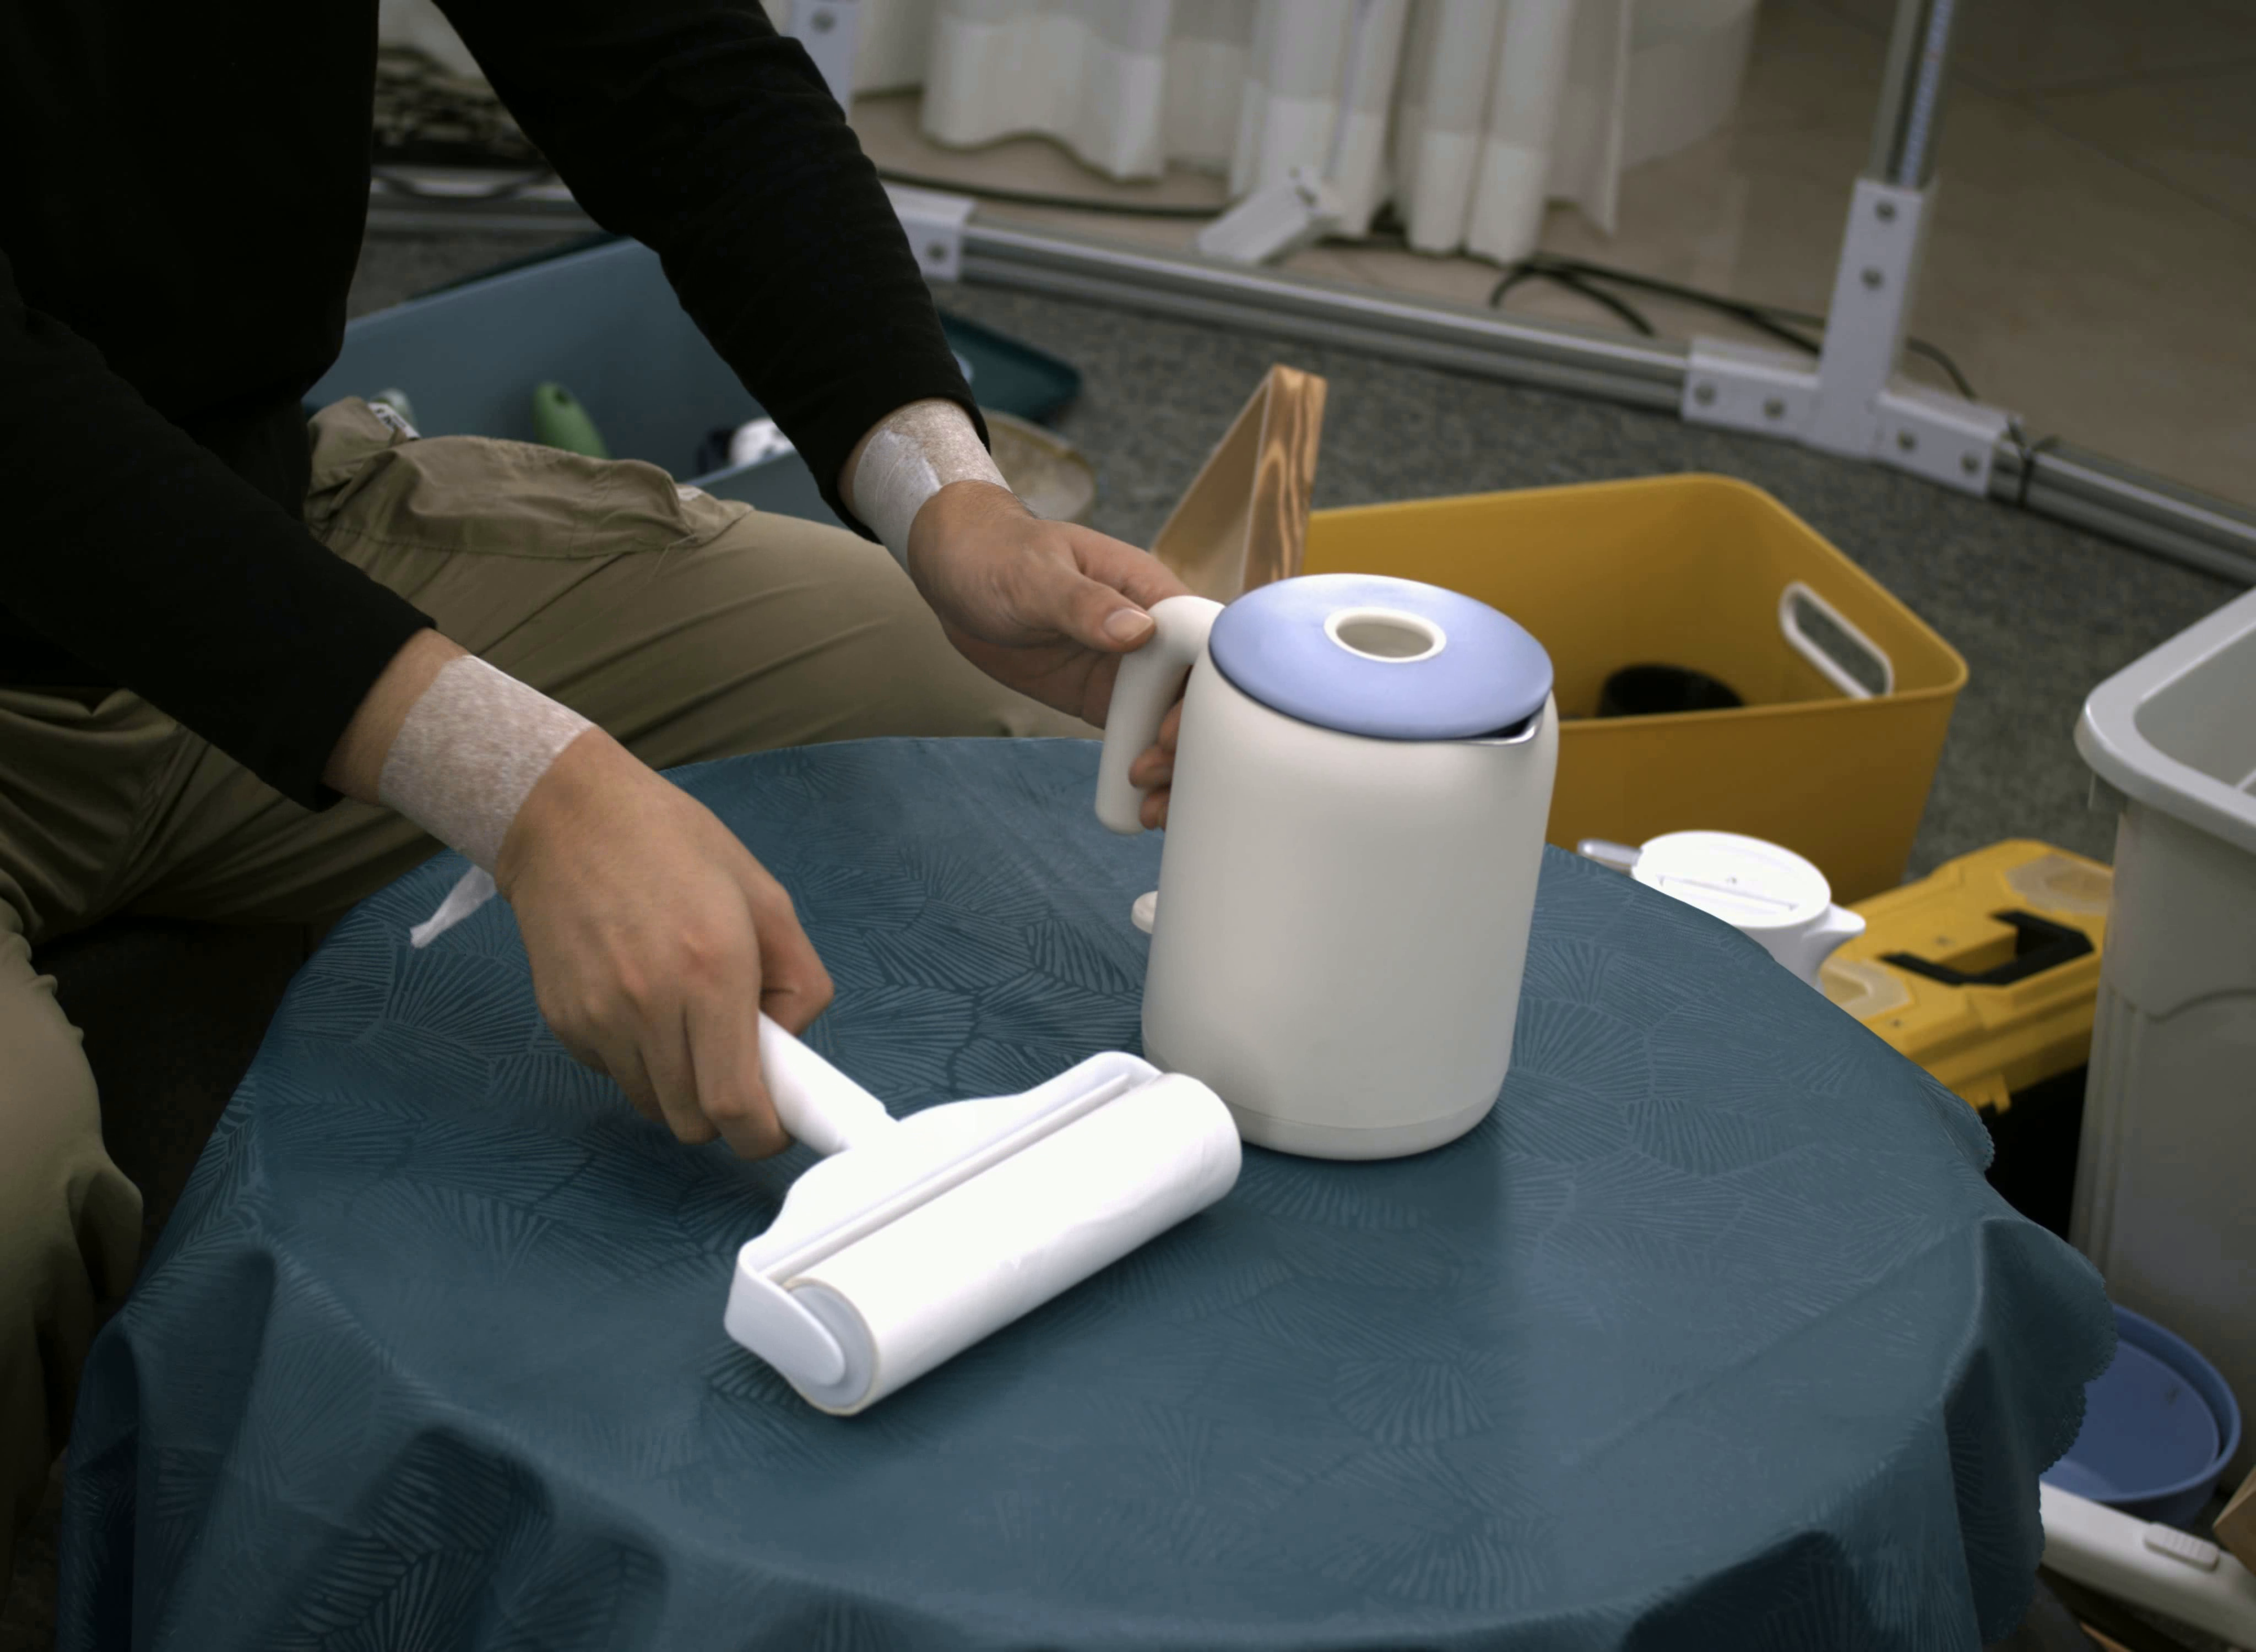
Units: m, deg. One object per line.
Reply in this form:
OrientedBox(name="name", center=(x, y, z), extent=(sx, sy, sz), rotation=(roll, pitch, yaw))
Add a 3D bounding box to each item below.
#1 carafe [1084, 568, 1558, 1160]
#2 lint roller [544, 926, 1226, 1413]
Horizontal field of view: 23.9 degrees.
OrientedBox(name="carafe", center=(0.059, 0.004, 1.862), extent=(0.192, 0.182, 0.131), rotation=(26, 32, 37))
OrientedBox(name="lint roller", center=(-0.107, 0.088, 1.761), extent=(0.227, 0.048, 0.202), rotation=(33, 37, 25))
